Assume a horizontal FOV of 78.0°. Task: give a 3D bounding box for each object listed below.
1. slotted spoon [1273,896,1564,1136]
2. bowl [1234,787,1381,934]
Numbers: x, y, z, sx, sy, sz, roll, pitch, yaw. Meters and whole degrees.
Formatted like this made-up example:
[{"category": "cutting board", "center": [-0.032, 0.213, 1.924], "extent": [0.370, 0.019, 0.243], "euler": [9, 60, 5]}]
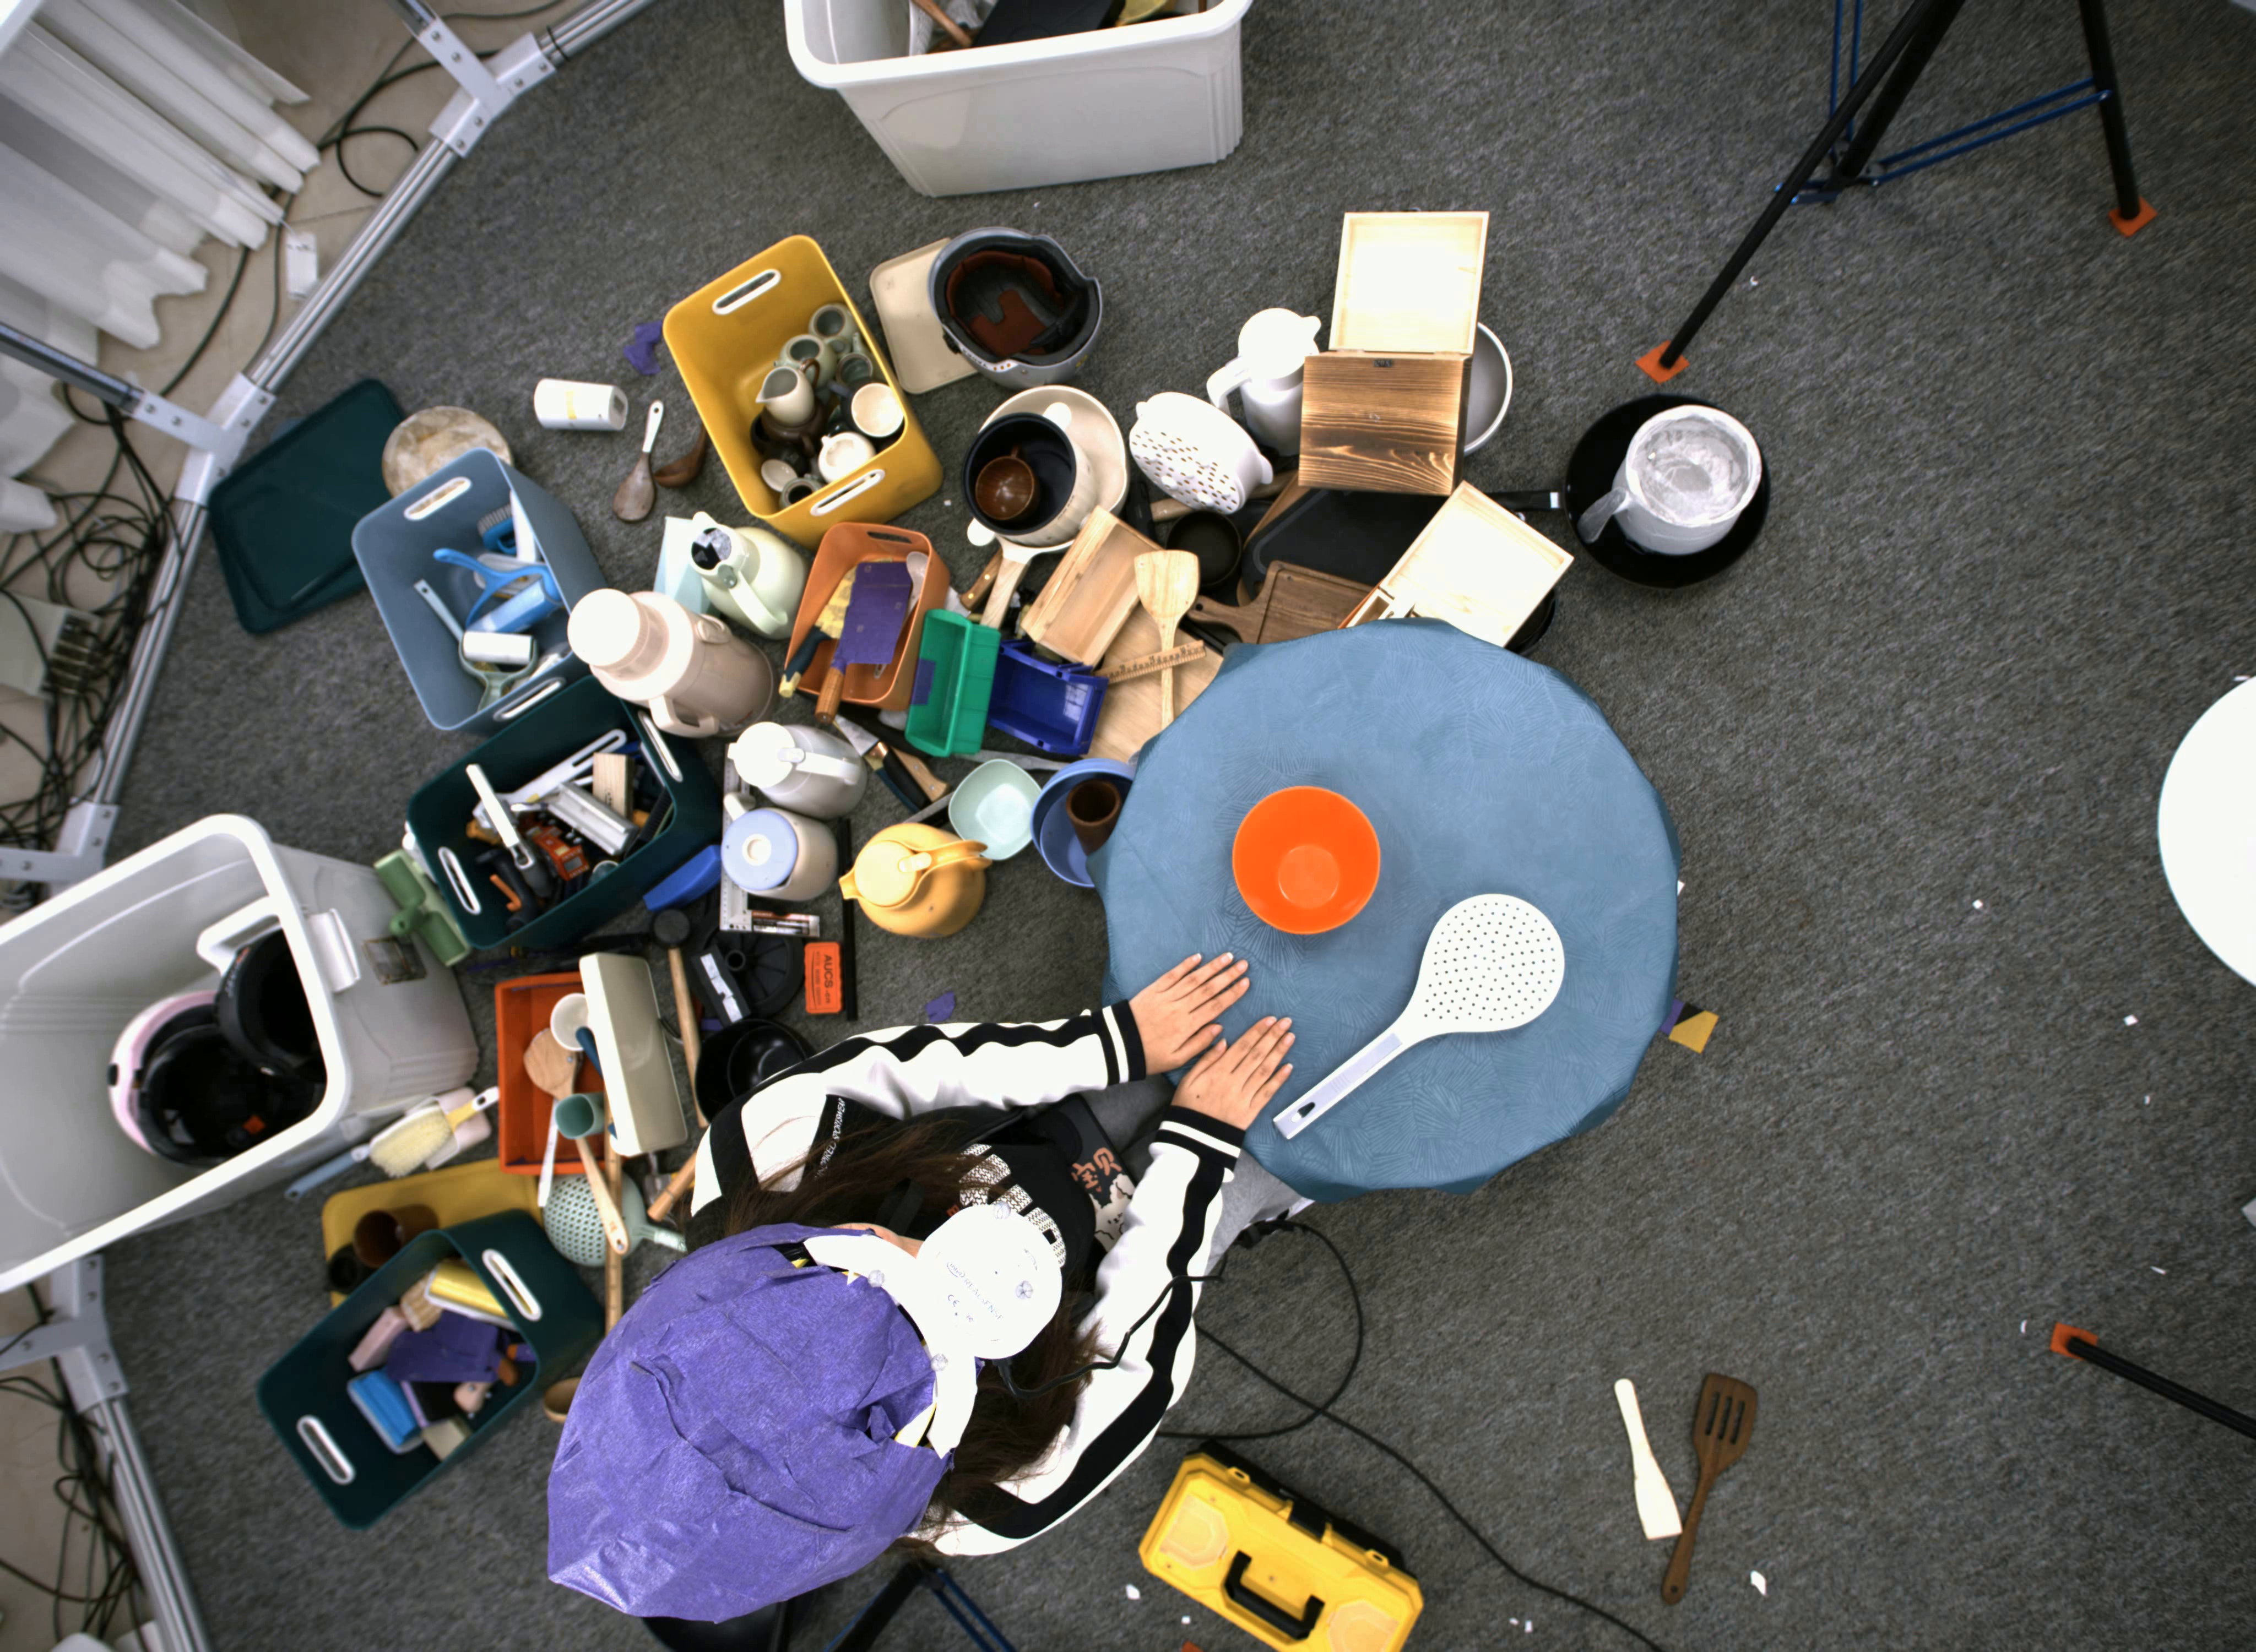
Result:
[{"category": "slotted spoon", "center": [0.292, 0.206, 1.426], "extent": [0.351, 0.046, 0.135], "euler": [-39, 79, 7]}, {"category": "bowl", "center": [0.185, 0.037, 1.427], "extent": [0.148, 0.104, 0.147], "euler": [-1, 87, 9]}]
